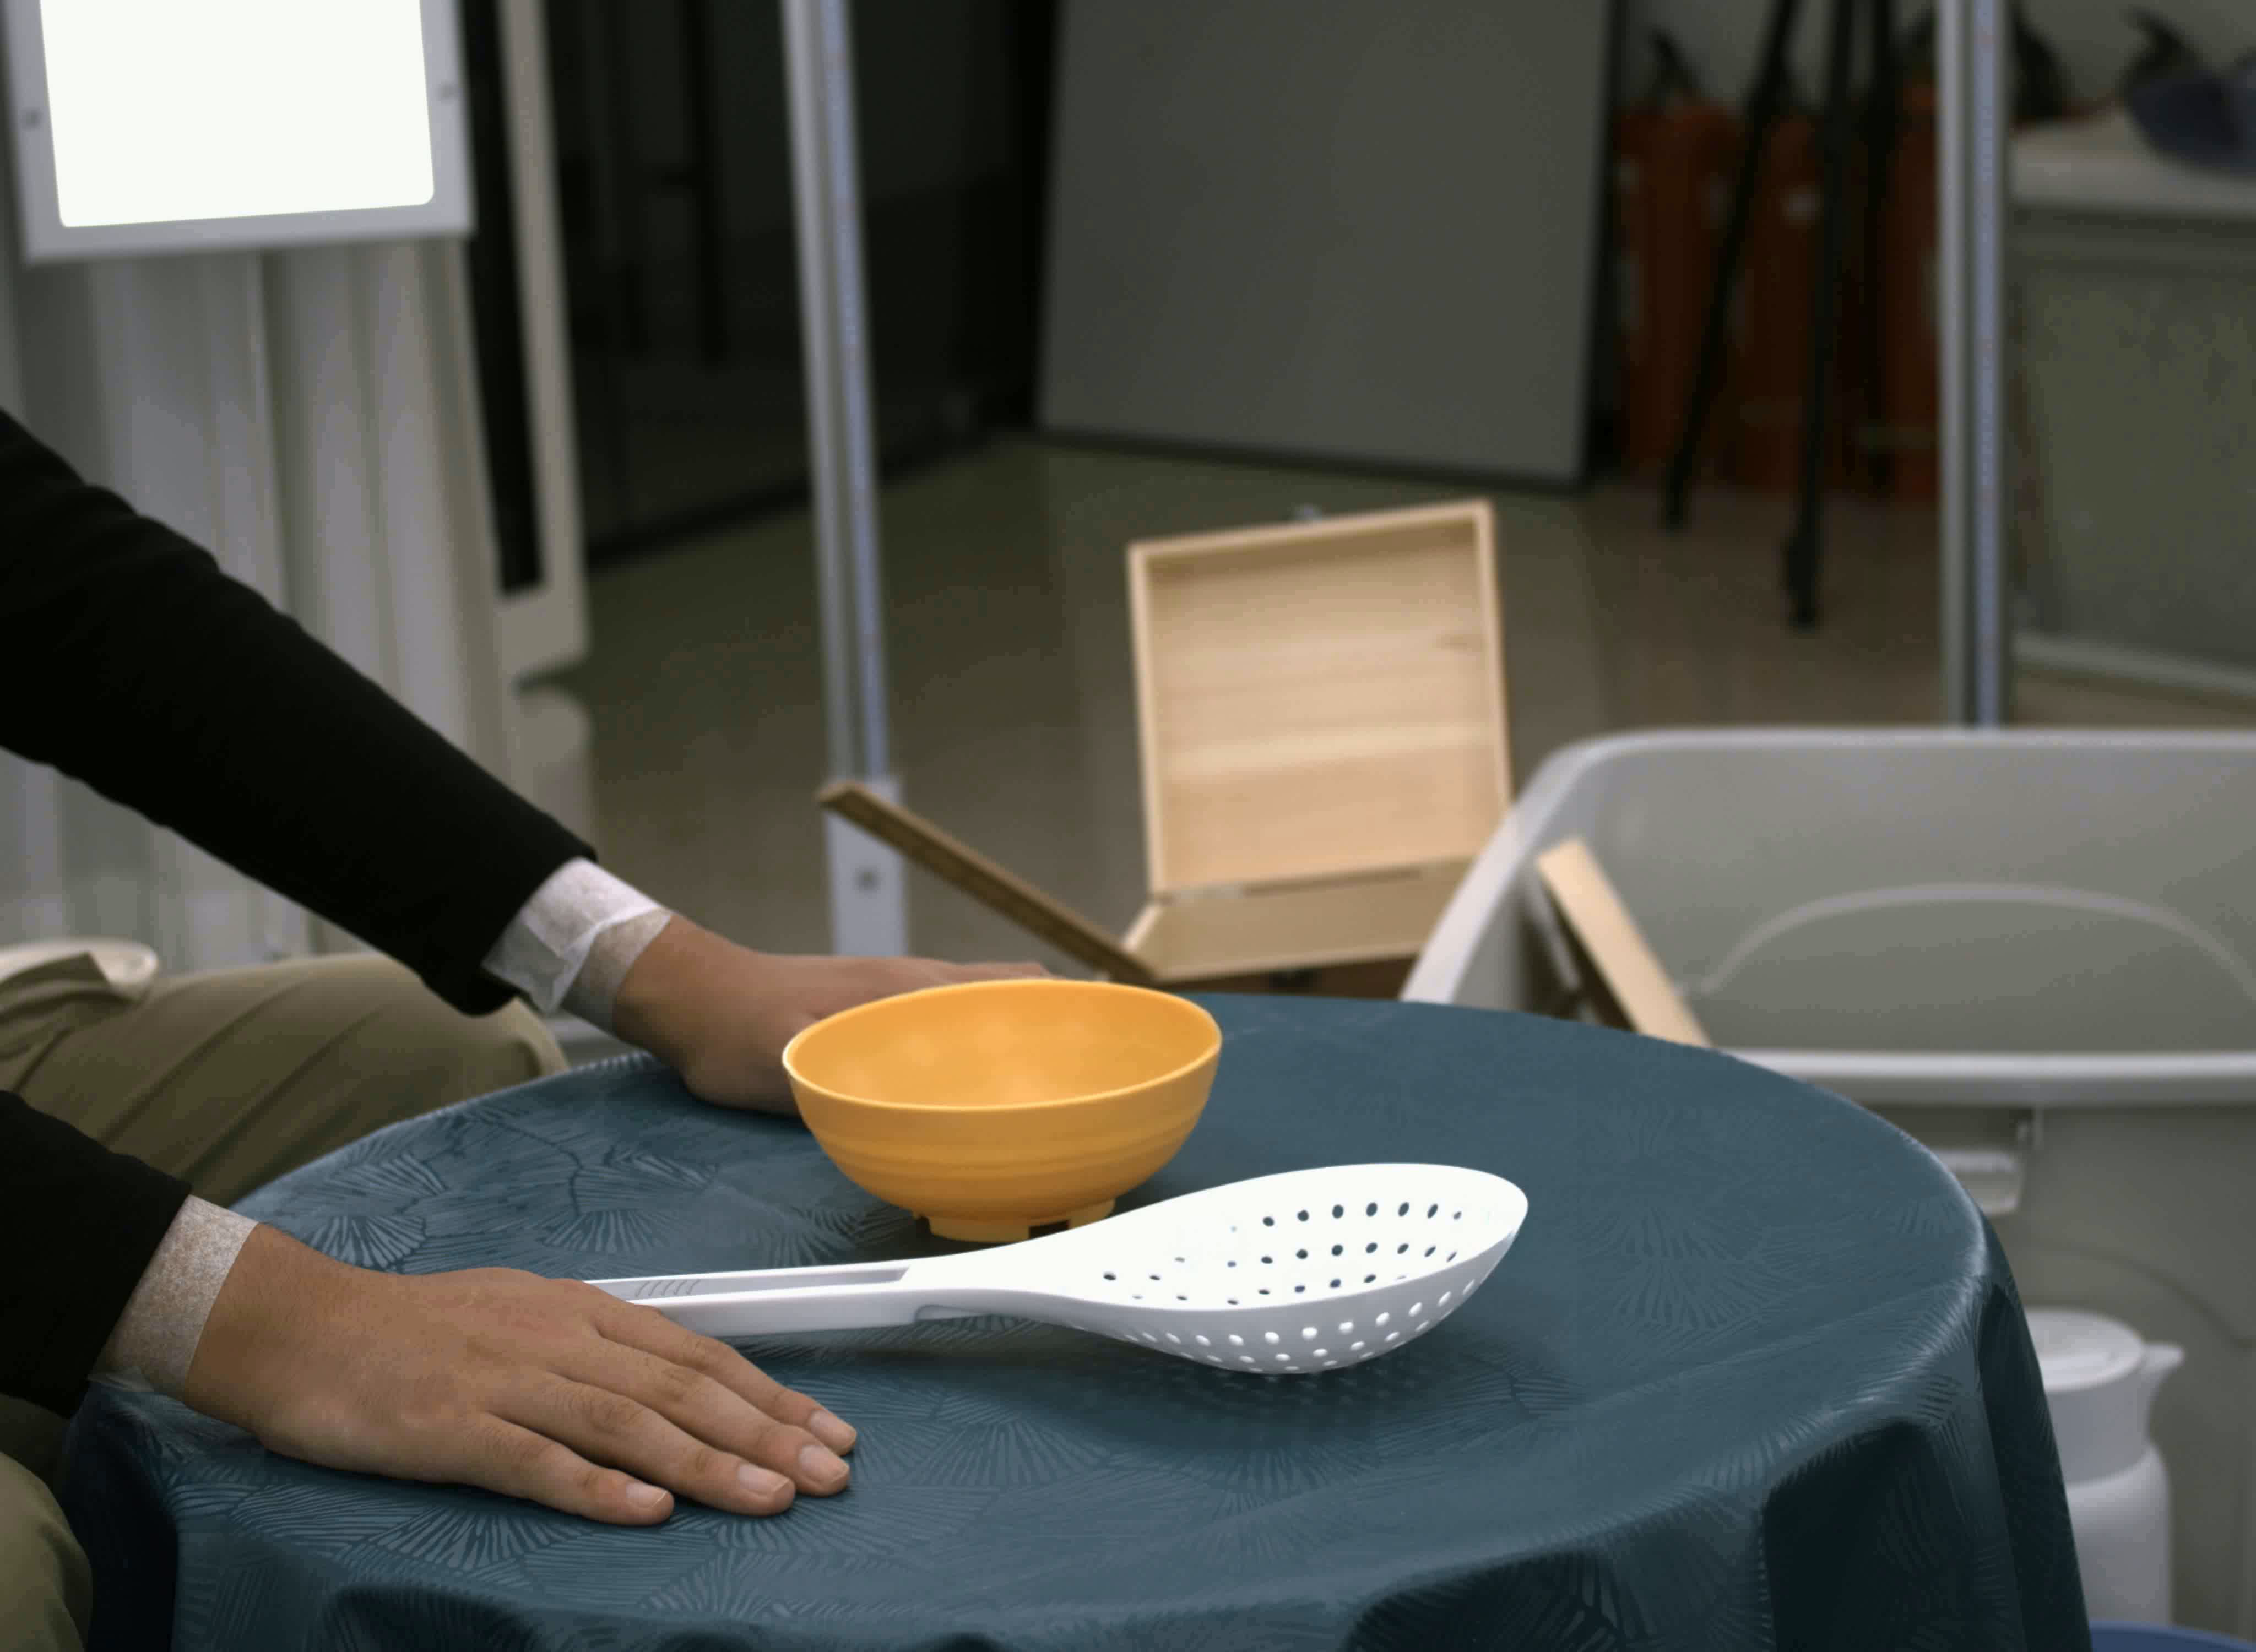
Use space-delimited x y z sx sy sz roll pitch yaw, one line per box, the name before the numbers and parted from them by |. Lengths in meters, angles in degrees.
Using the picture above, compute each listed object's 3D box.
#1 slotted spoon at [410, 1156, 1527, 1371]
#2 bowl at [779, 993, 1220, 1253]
slotted spoon | -0.051 0.138 1.619 0.348 0.046 0.135 -2 13 14
bowl | -0.040 0.100 1.751 0.143 0.061 0.145 -2 12 0
